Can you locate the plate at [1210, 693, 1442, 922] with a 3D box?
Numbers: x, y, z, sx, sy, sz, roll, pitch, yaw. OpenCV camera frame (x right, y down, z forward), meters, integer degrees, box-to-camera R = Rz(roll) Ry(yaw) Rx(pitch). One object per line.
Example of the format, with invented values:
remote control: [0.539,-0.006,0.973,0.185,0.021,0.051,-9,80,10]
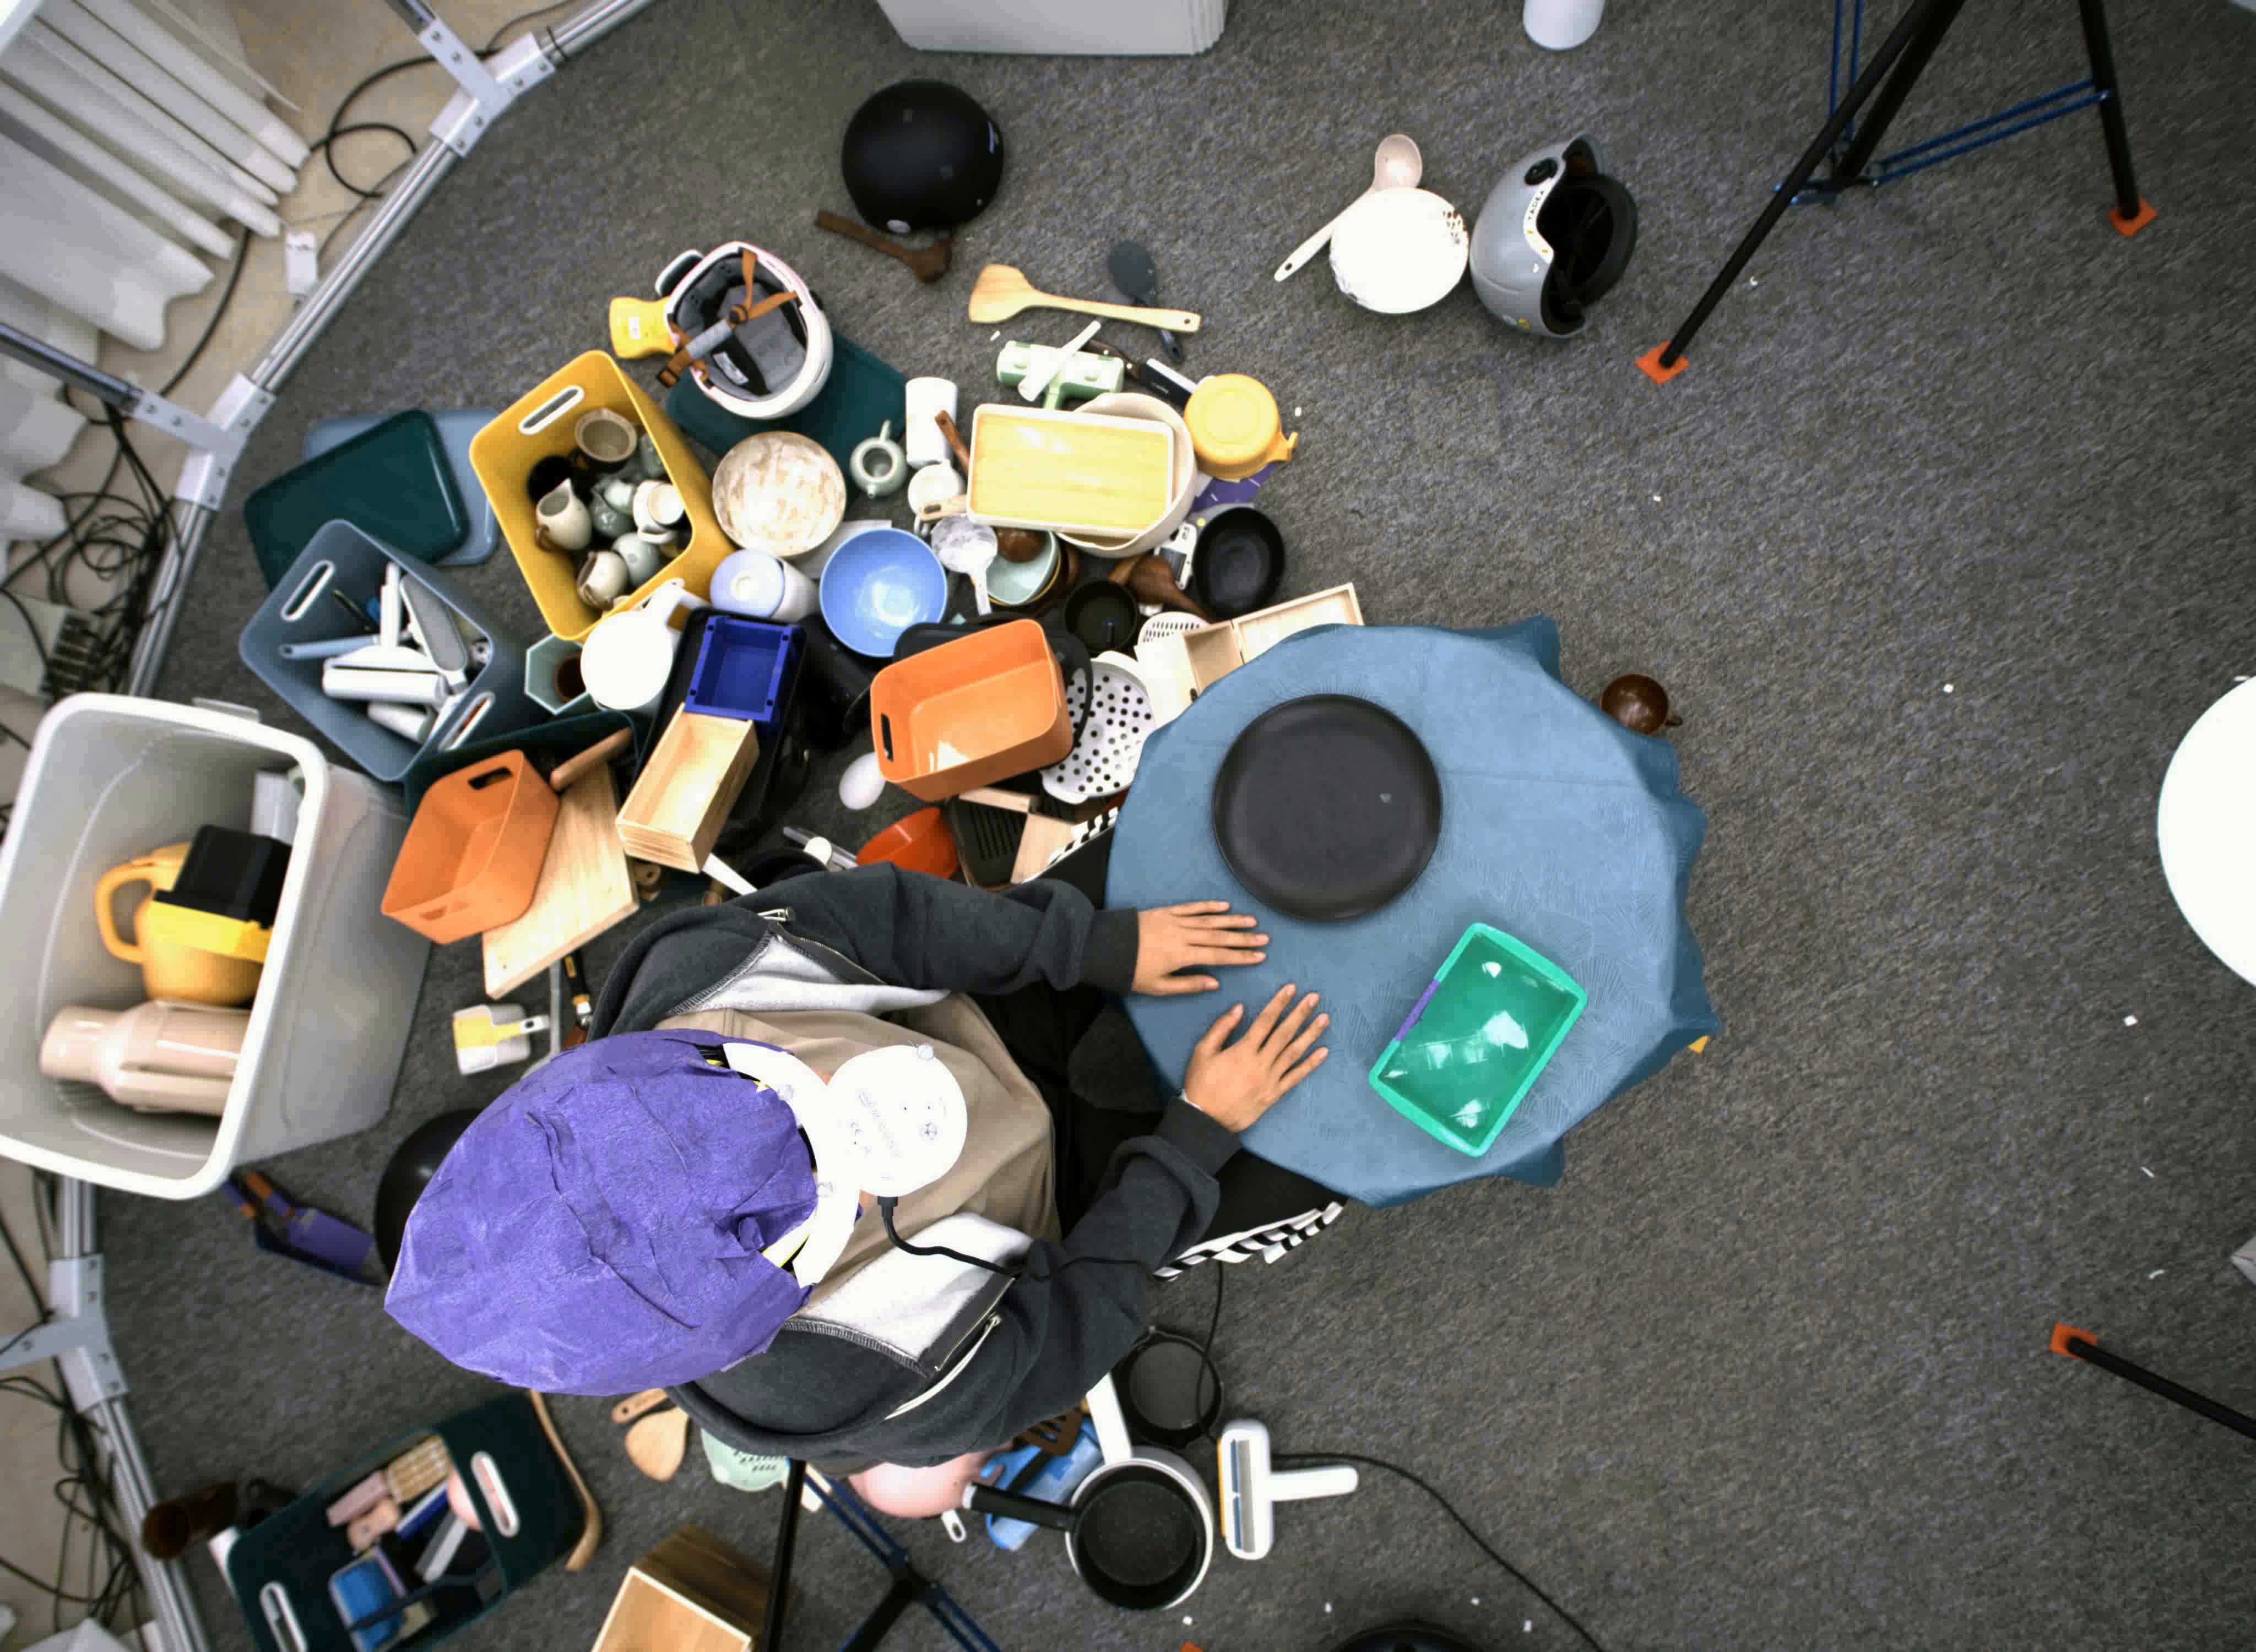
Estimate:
plate: [0.209,-0.020,1.464,0.245,0.023,0.243,-1,87,10]

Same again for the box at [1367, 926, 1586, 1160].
box: [0.353,0.216,1.404,0.138,0.065,0.211,34,95,12]
